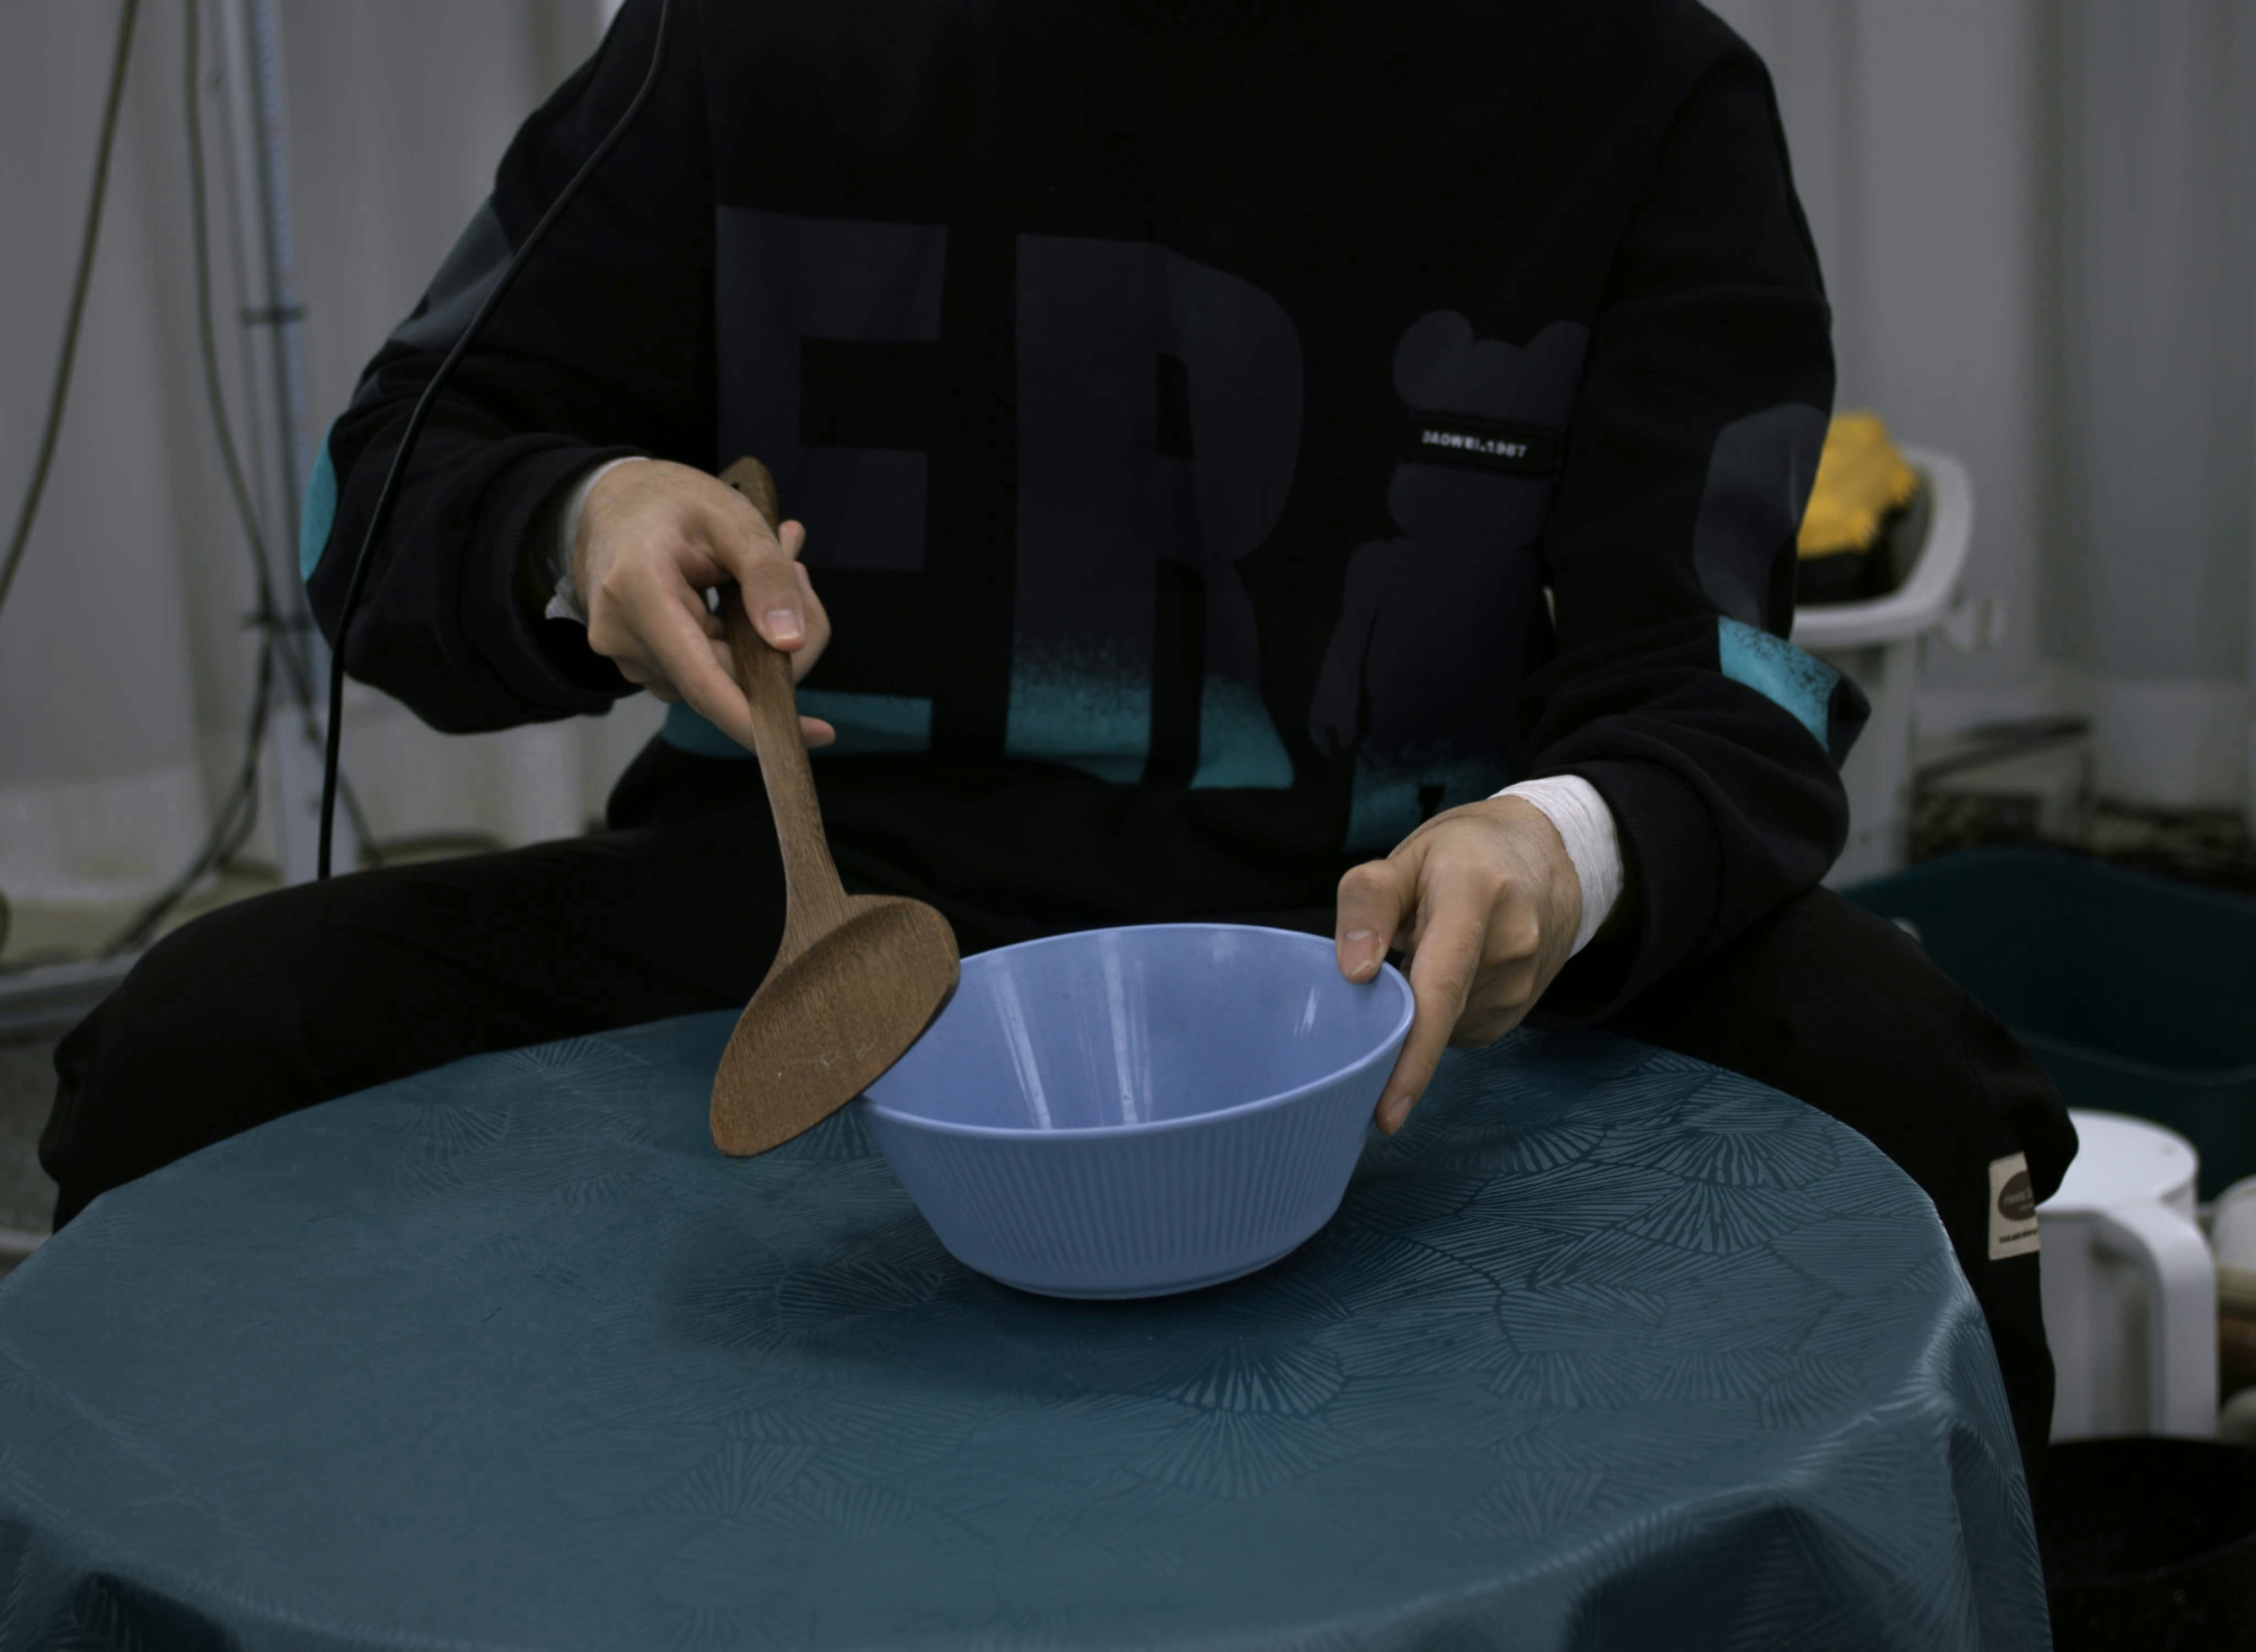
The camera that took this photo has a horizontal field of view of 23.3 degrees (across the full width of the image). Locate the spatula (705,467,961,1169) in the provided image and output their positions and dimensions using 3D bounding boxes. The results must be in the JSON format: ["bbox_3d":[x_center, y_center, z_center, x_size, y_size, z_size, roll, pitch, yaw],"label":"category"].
[{"bbox_3d":[-0.109,-0.019,1.755,0.096,0.015,0.391,-37,31,14],"label":"spatula"}]

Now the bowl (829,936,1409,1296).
[{"bbox_3d":[-0.001,0.090,1.645,0.175,0.070,0.177,-4,16,1],"label":"bowl"}]
